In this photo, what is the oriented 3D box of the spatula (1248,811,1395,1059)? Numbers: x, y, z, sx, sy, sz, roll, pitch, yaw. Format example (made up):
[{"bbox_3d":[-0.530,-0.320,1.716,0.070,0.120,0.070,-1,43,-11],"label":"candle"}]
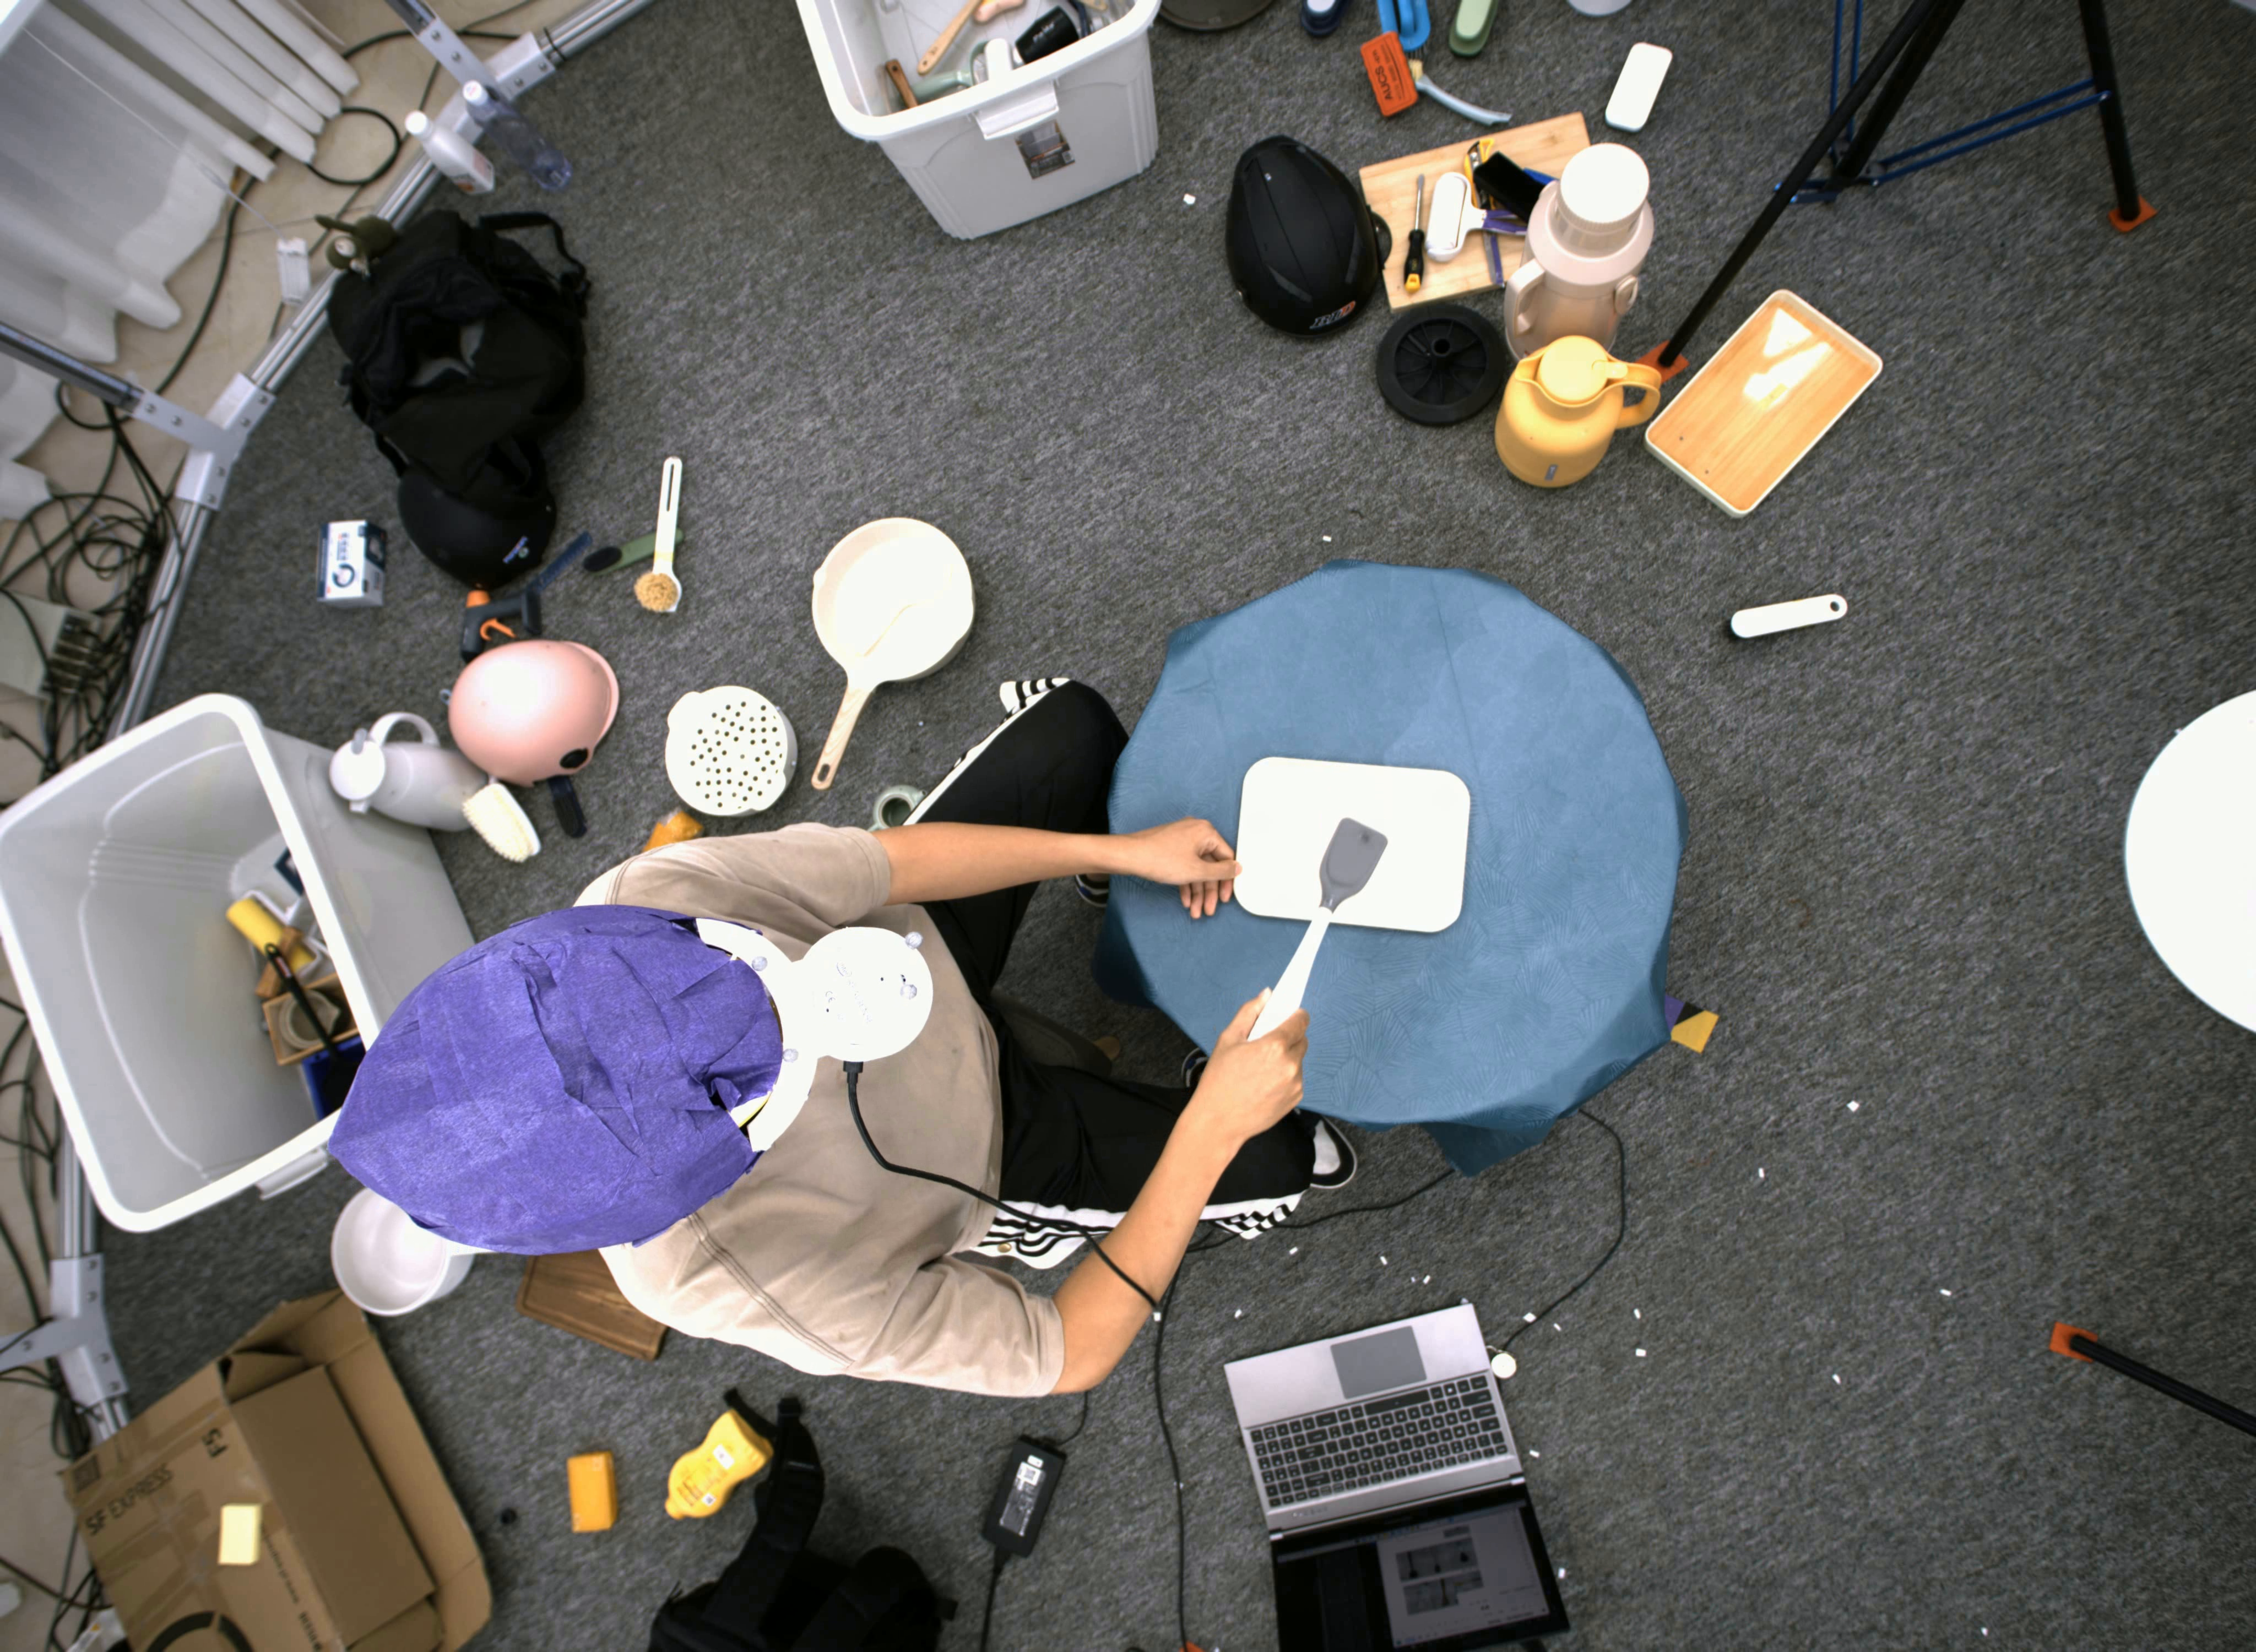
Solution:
[{"bbox_3d":[0.180,0.096,1.302,0.058,0.033,0.280,23,56,12],"label":"spatula"}]

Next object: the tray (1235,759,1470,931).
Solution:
[{"bbox_3d":[0.237,0.018,1.462,0.240,0.017,0.170,5,86,11],"label":"tray"}]
